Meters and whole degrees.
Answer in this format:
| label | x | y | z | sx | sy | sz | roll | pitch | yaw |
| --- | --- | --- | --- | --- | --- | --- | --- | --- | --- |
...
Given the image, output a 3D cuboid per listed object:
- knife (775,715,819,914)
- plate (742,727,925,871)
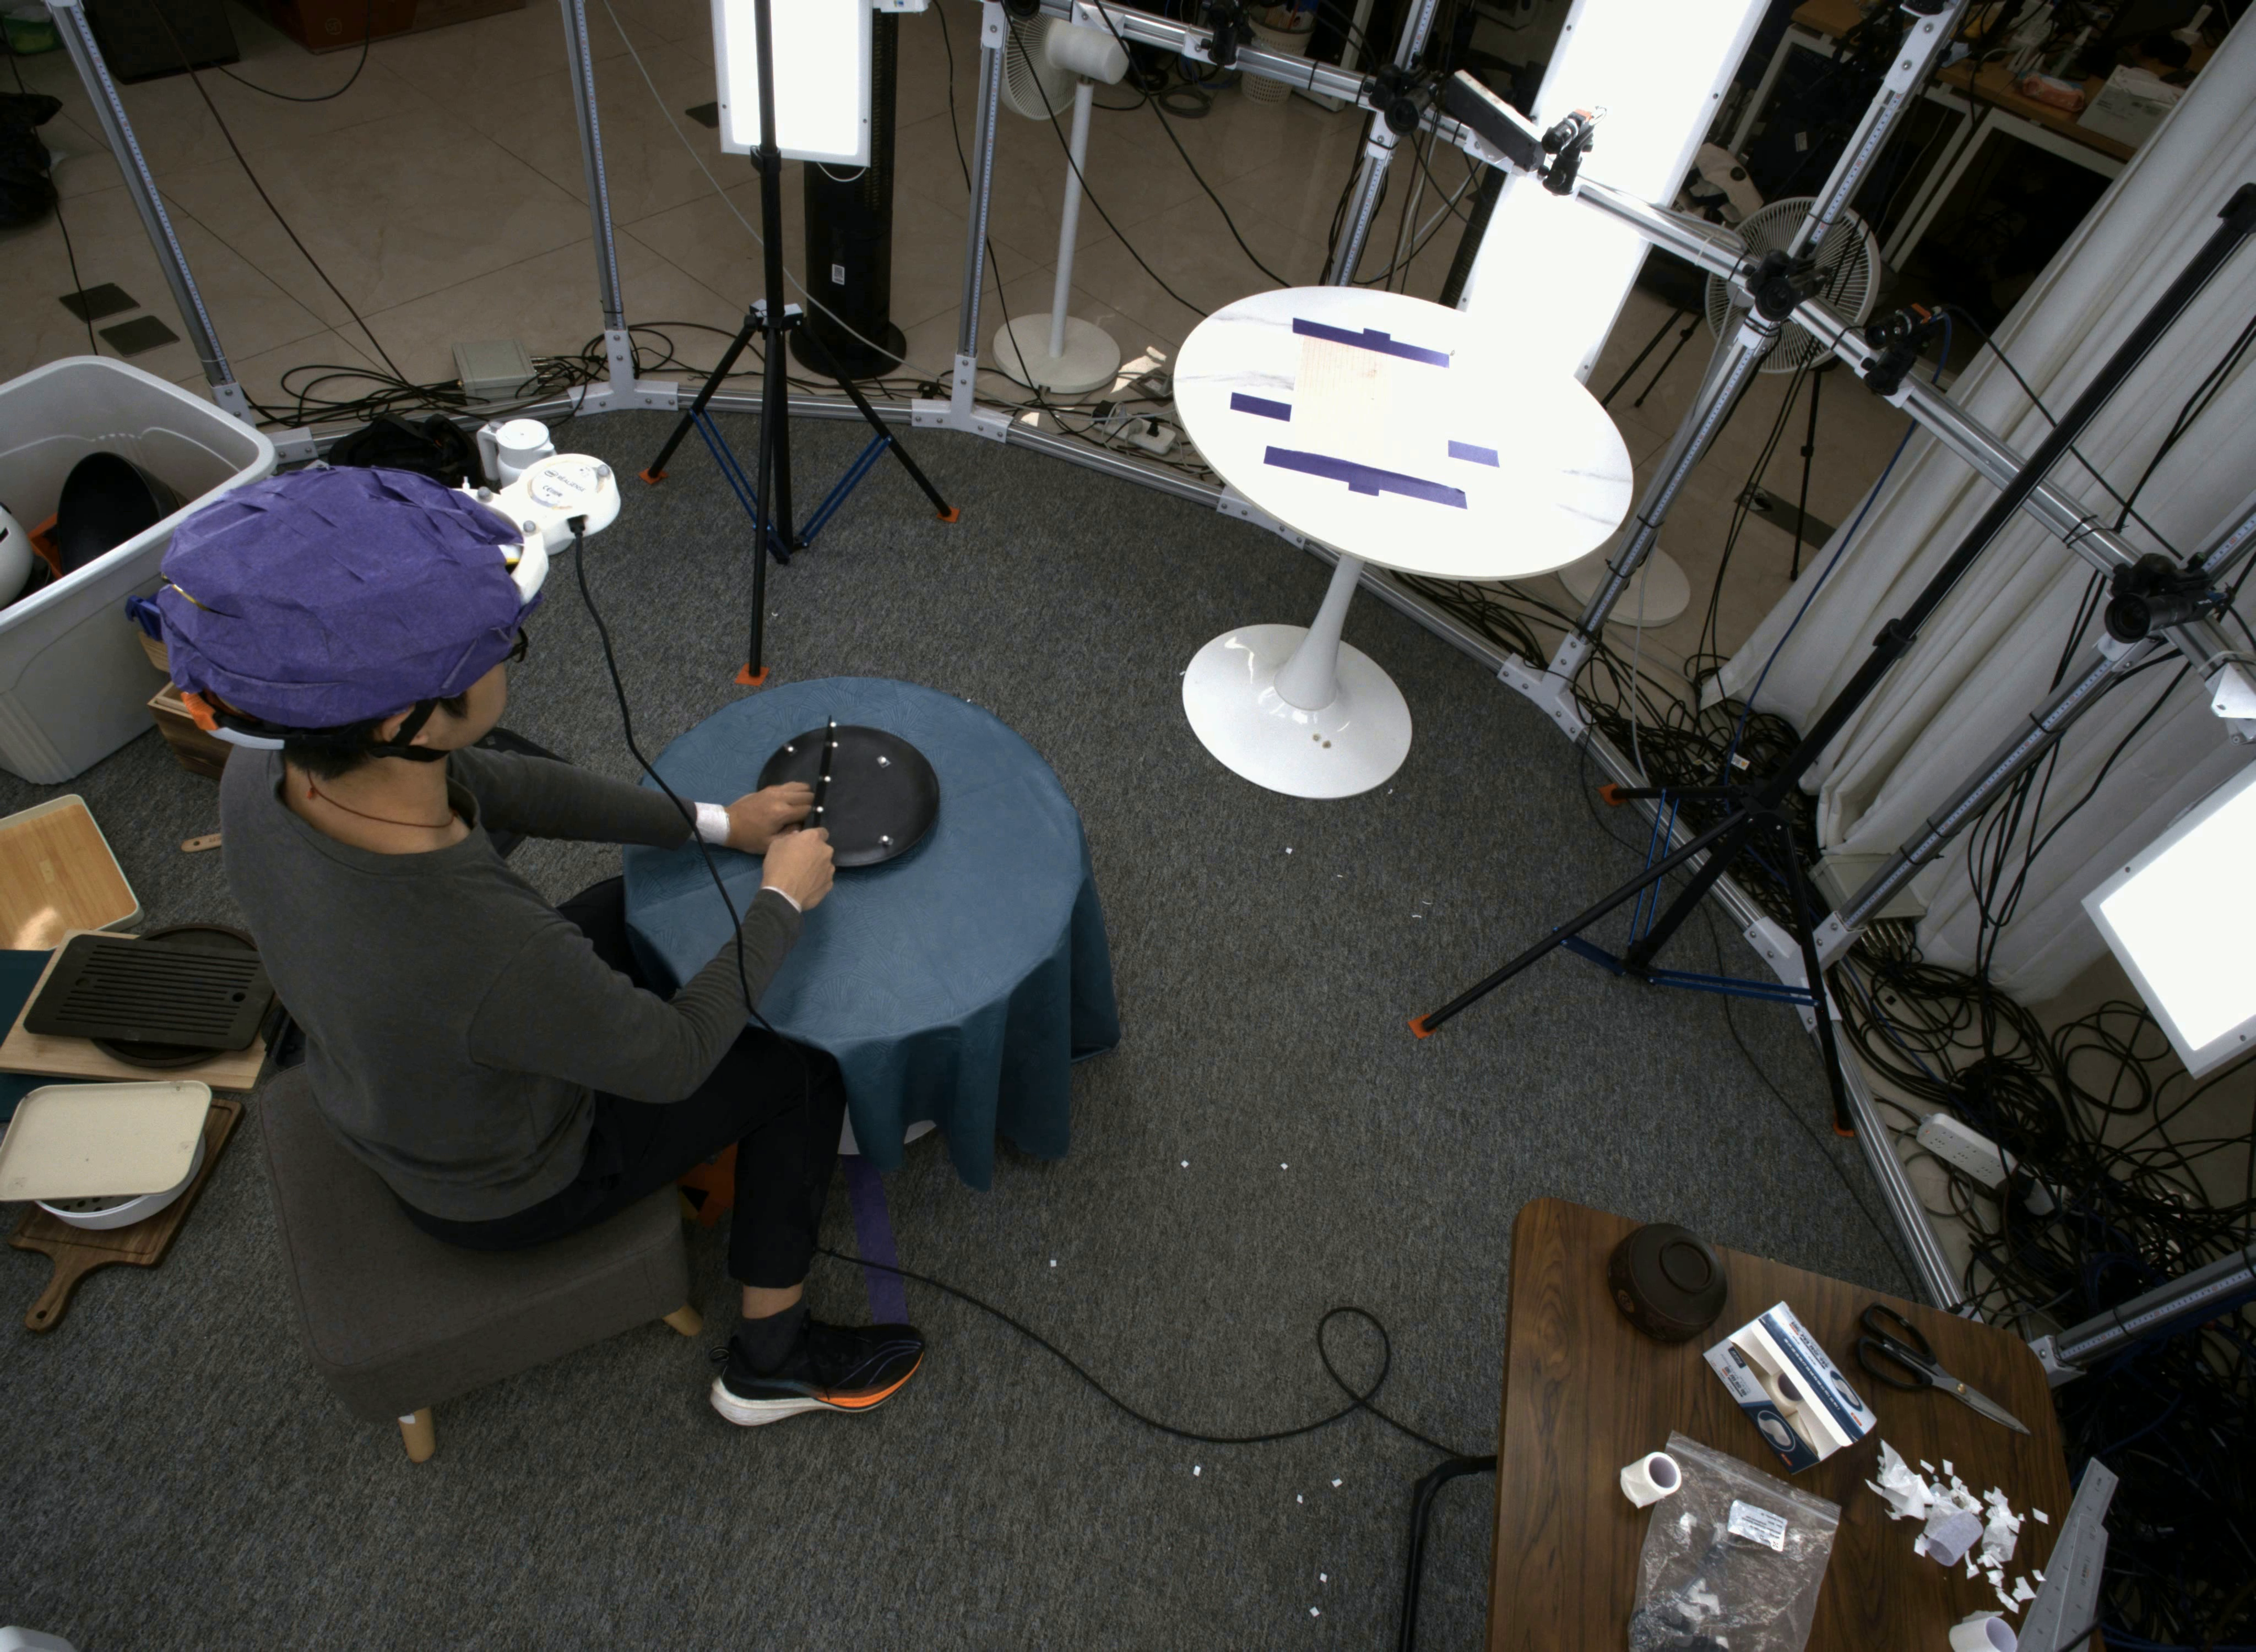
| label | x | y | z | sx | sy | sz | roll | pitch | yaw |
| --- | --- | --- | --- | --- | --- | --- | --- | --- | --- |
| knife | -0.421 | -0.015 | 1.667 | 0.021 | 0.083 | 0.296 | 3 | 49 | -4 |
| plate | -0.396 | -0.036 | 1.755 | 0.244 | 0.024 | 0.240 | 8 | 53 | -8 |
